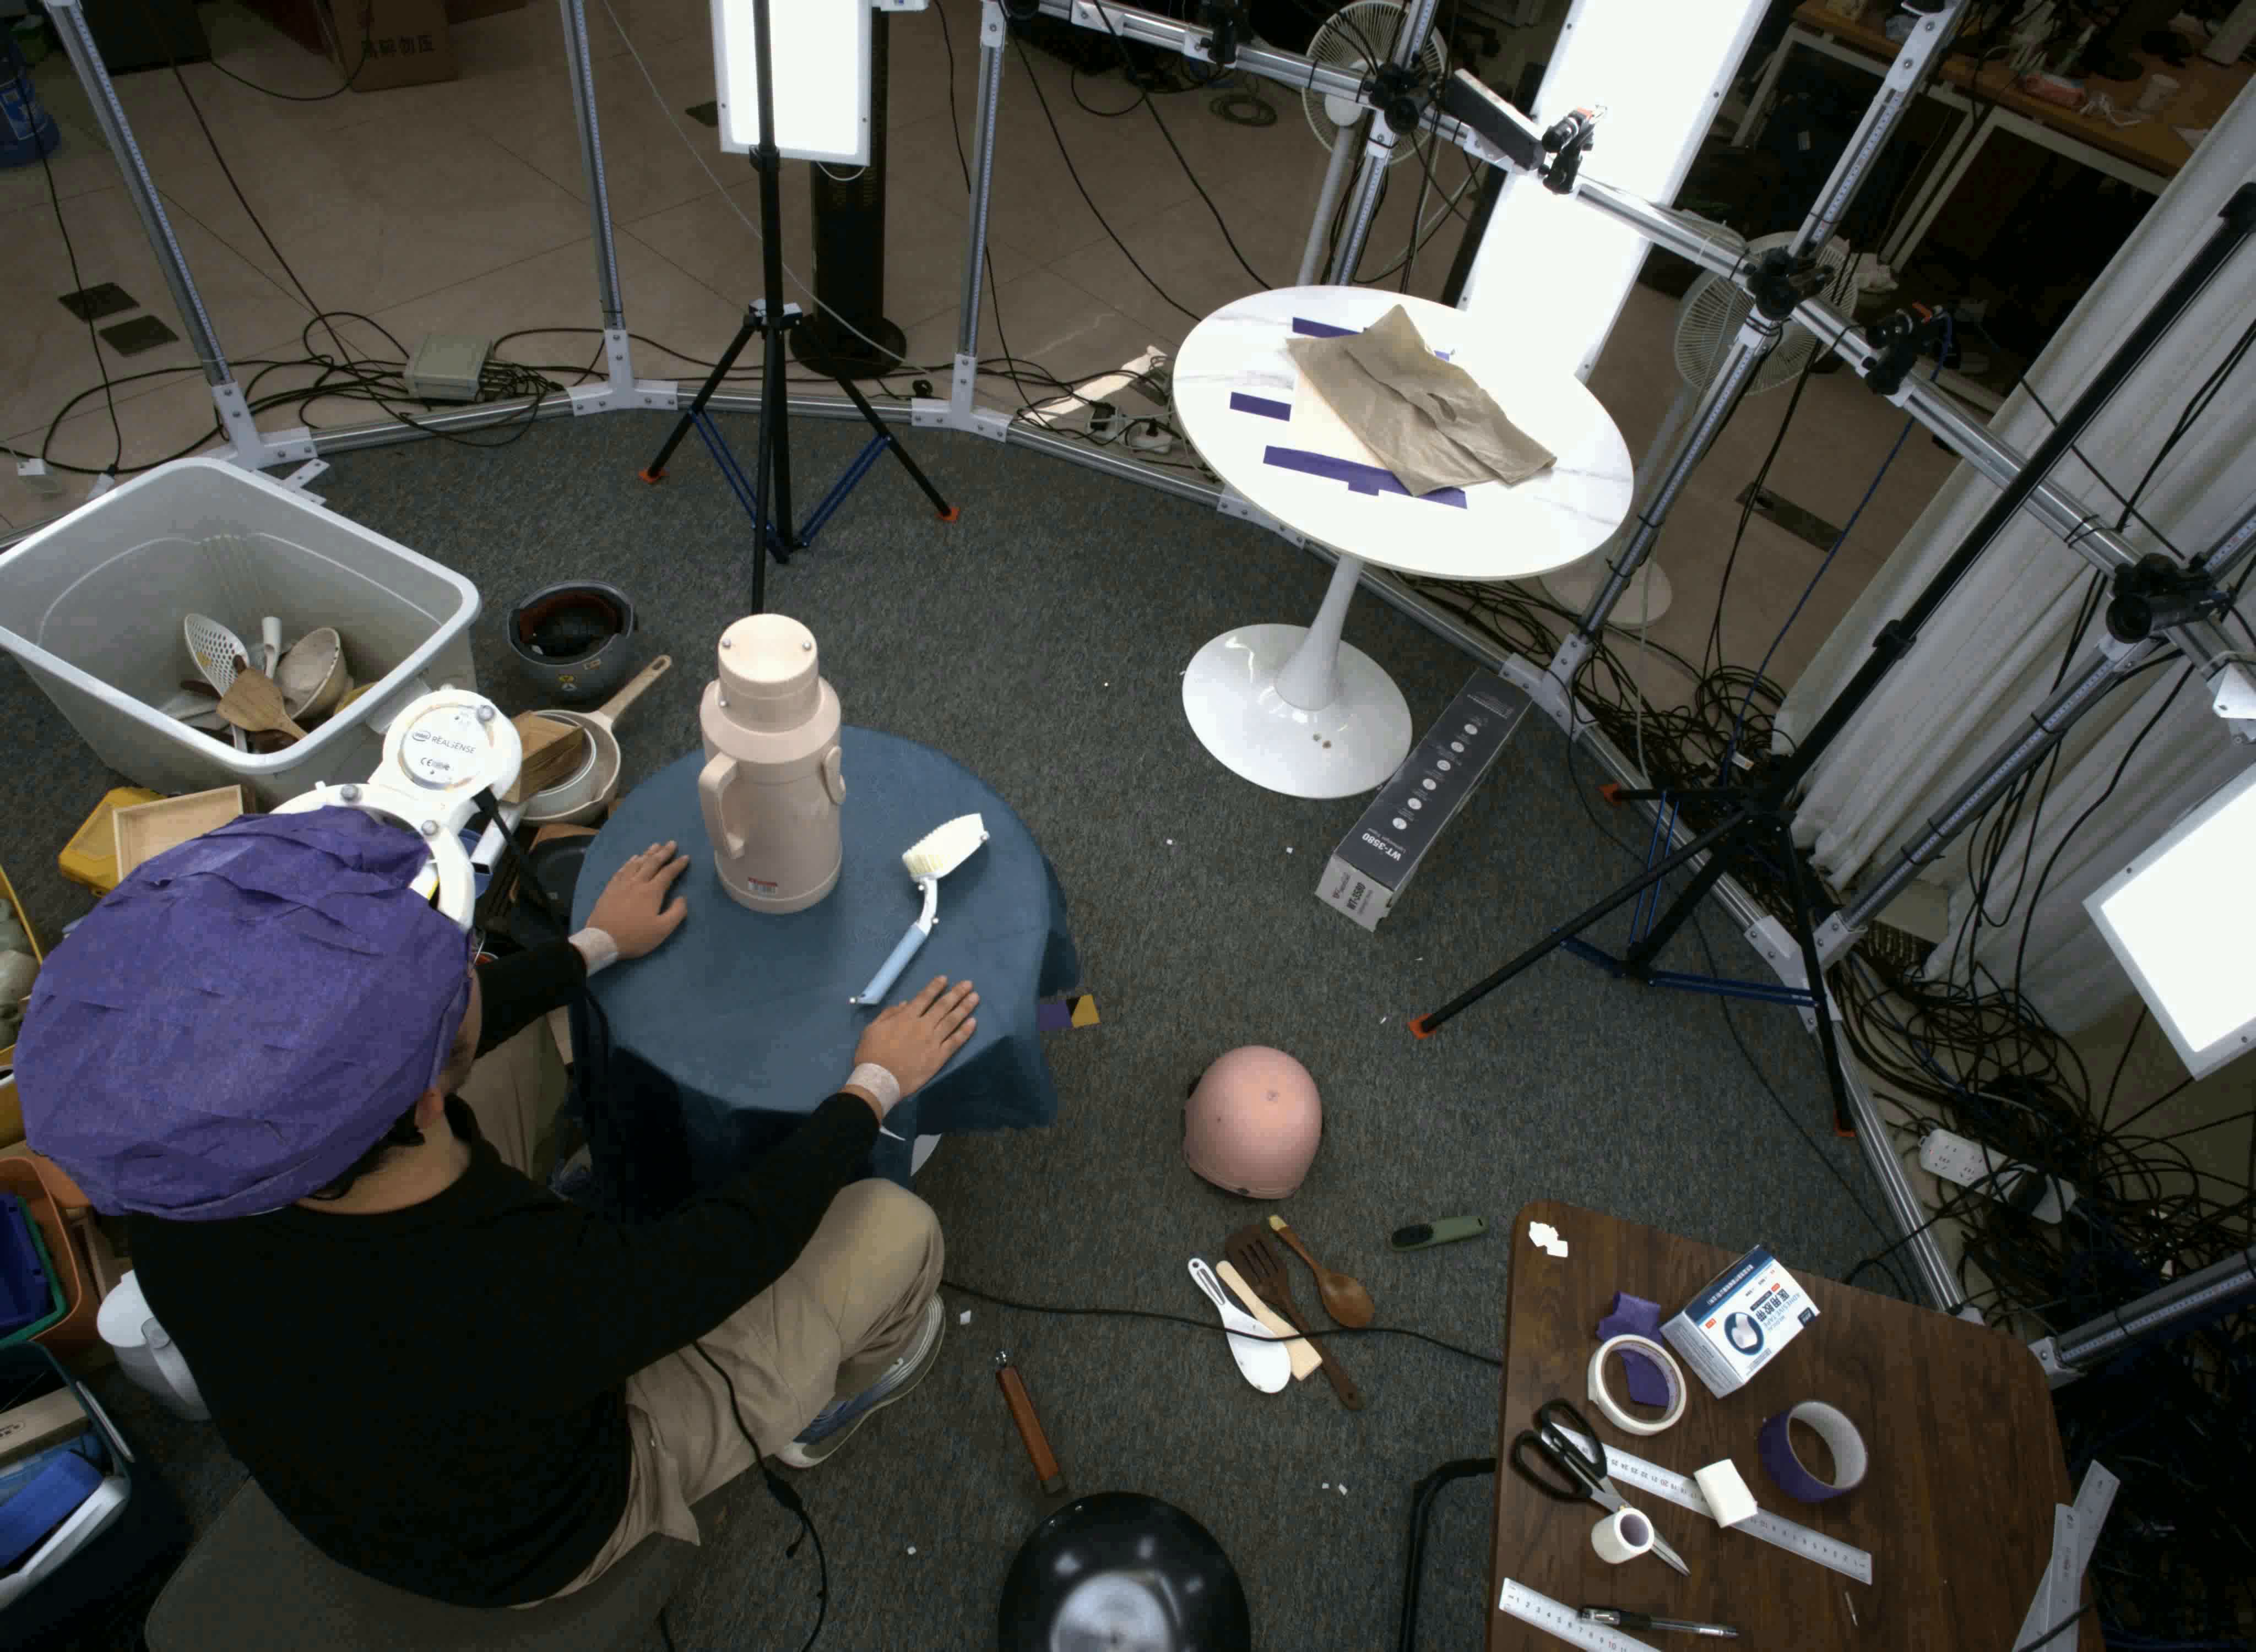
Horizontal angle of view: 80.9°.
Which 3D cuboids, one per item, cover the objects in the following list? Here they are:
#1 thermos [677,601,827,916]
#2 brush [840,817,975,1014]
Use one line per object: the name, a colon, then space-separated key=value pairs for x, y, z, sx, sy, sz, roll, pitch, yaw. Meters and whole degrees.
thermos: x=-0.446 y=-0.066 z=1.505 sx=0.173 sy=0.414 sz=0.206 roll=26 pitch=51 yaw=7
brush: x=-0.289 y=0.091 z=1.634 sx=0.084 sy=0.084 sz=0.323 roll=28 pitch=50 yaw=3
